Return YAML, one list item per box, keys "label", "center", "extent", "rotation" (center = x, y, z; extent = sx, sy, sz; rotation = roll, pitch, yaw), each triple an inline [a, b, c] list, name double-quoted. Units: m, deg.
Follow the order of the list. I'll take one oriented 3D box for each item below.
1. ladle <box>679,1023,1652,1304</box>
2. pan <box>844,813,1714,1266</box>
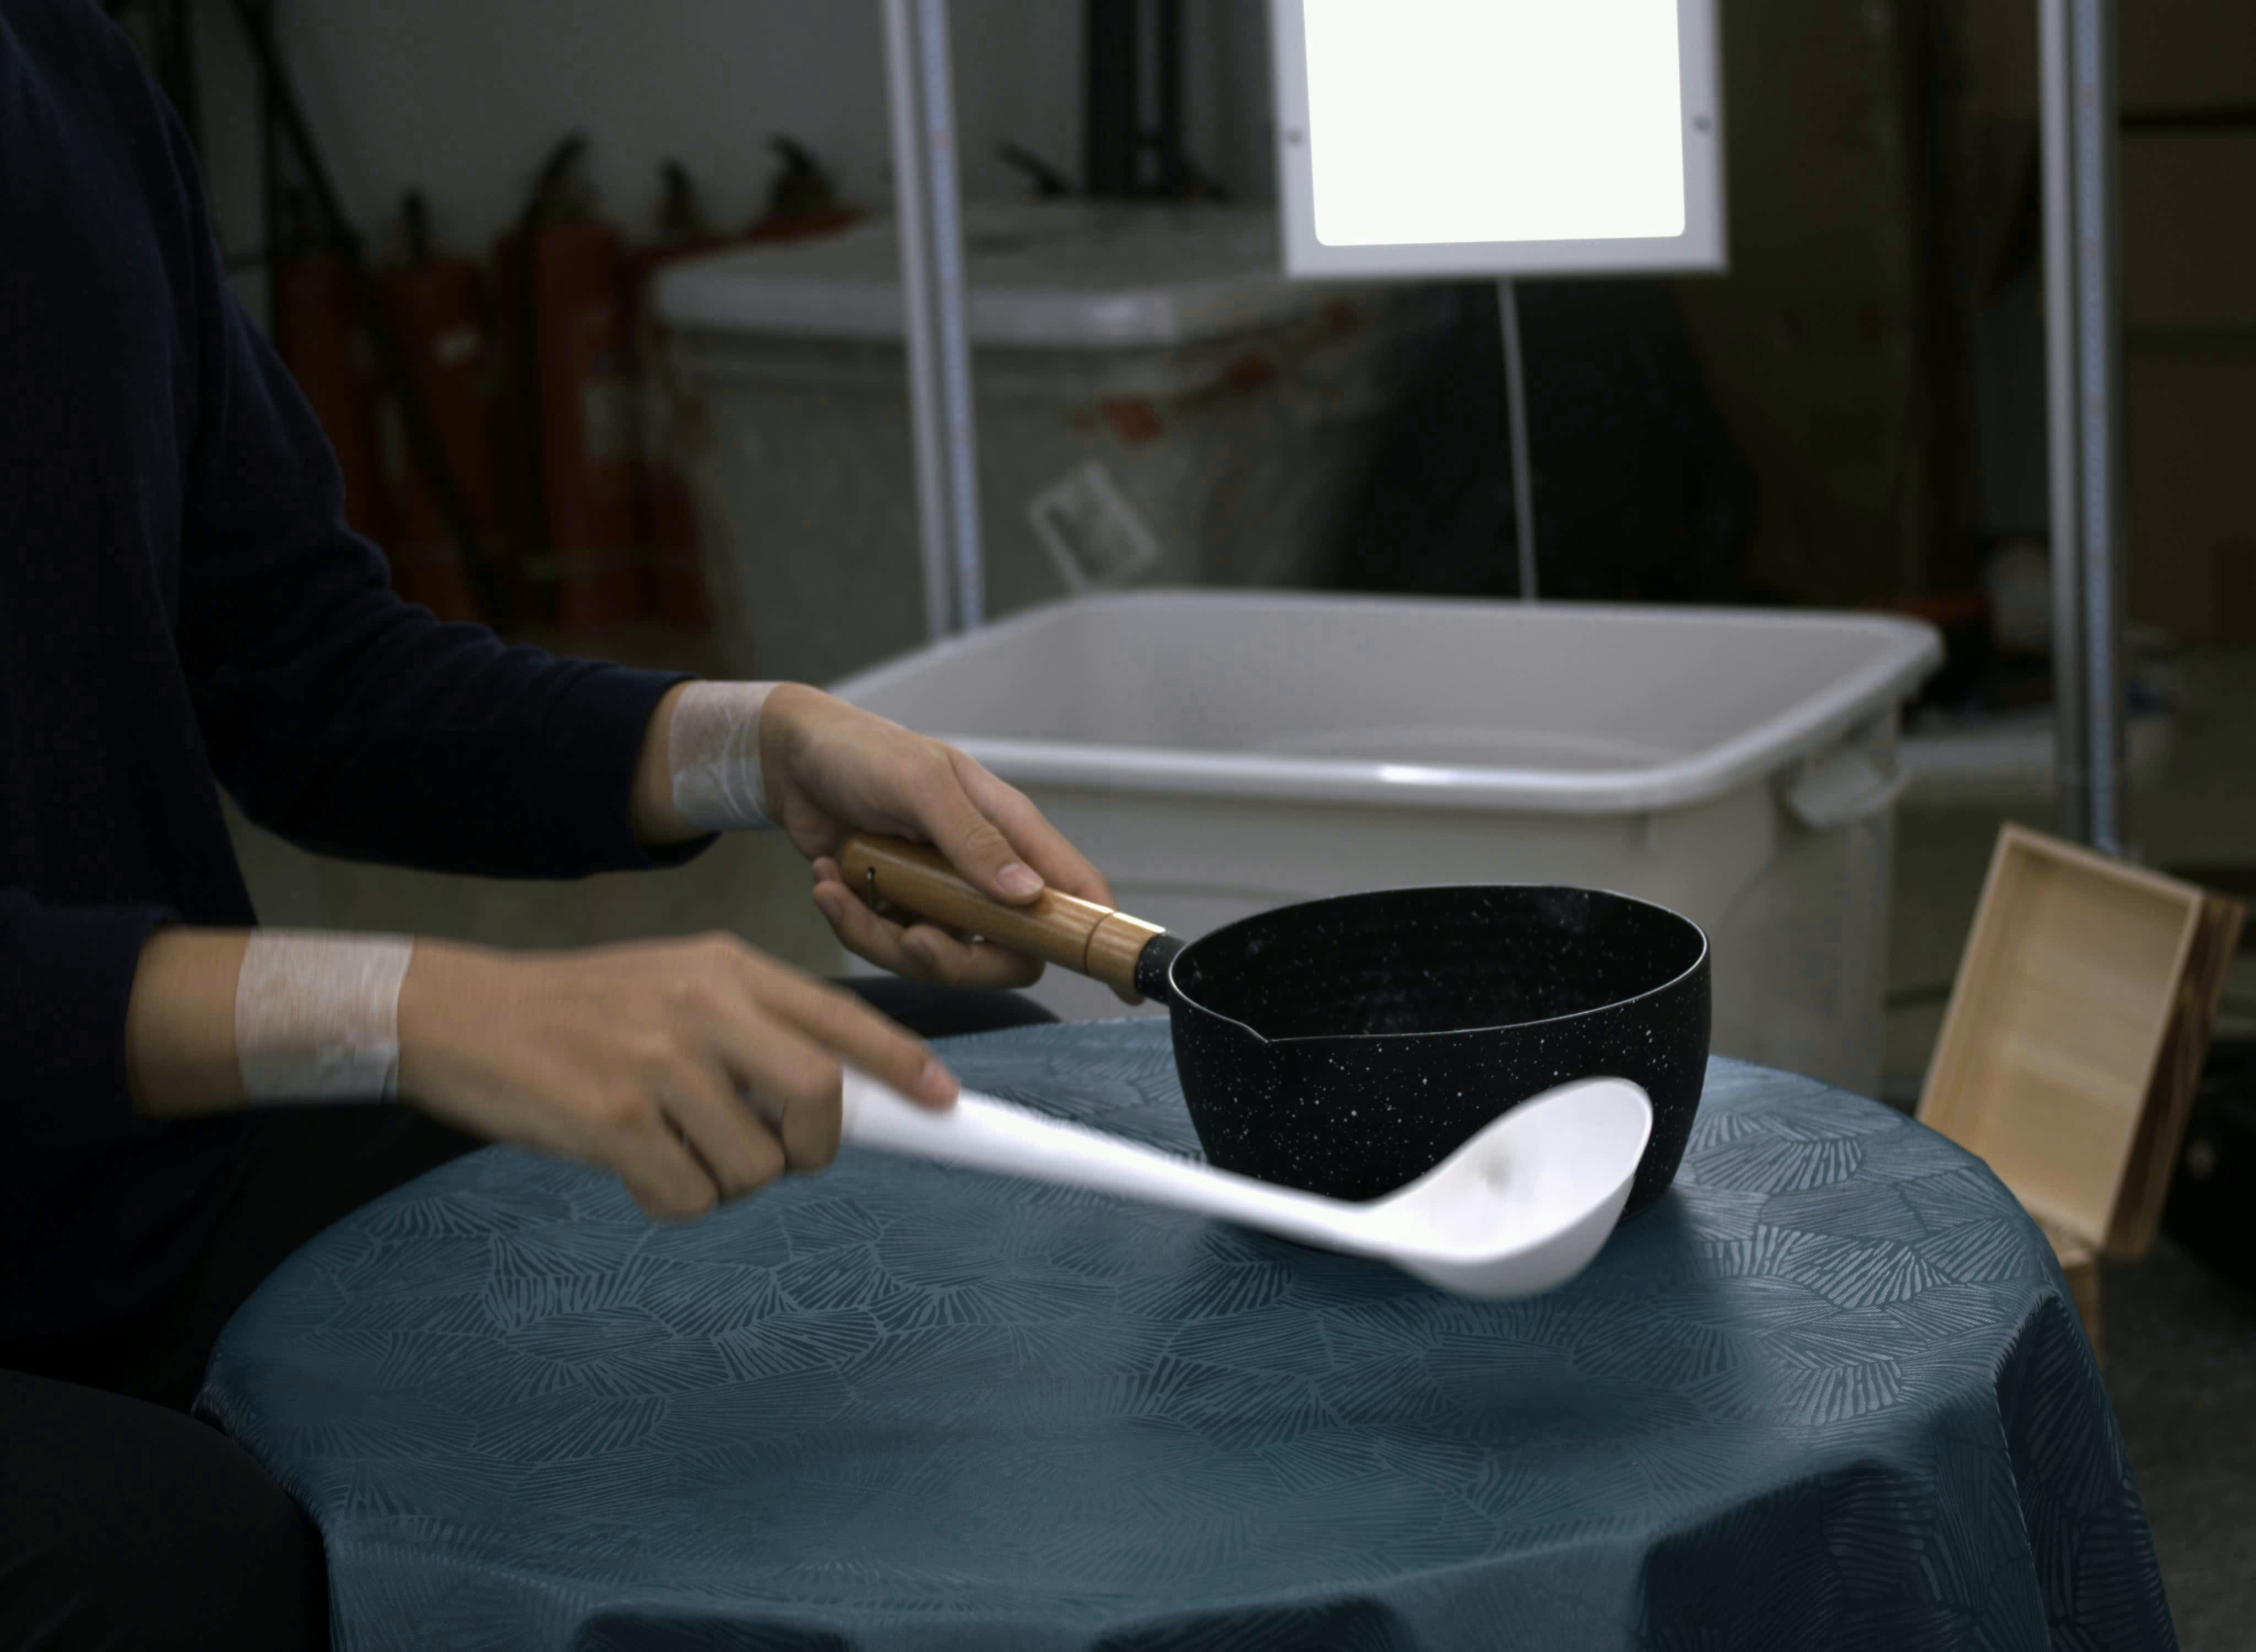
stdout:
- label: "ladle"
  center: [0.009, 0.089, 1.659]
  extent: [0.294, 0.070, 0.089]
  rotation: [11, 39, 8]
- label: "pan"
  center: [0.041, 0.066, 1.902]
  extent: [0.350, 0.108, 0.202]
  rotation: [7, 19, 35]
